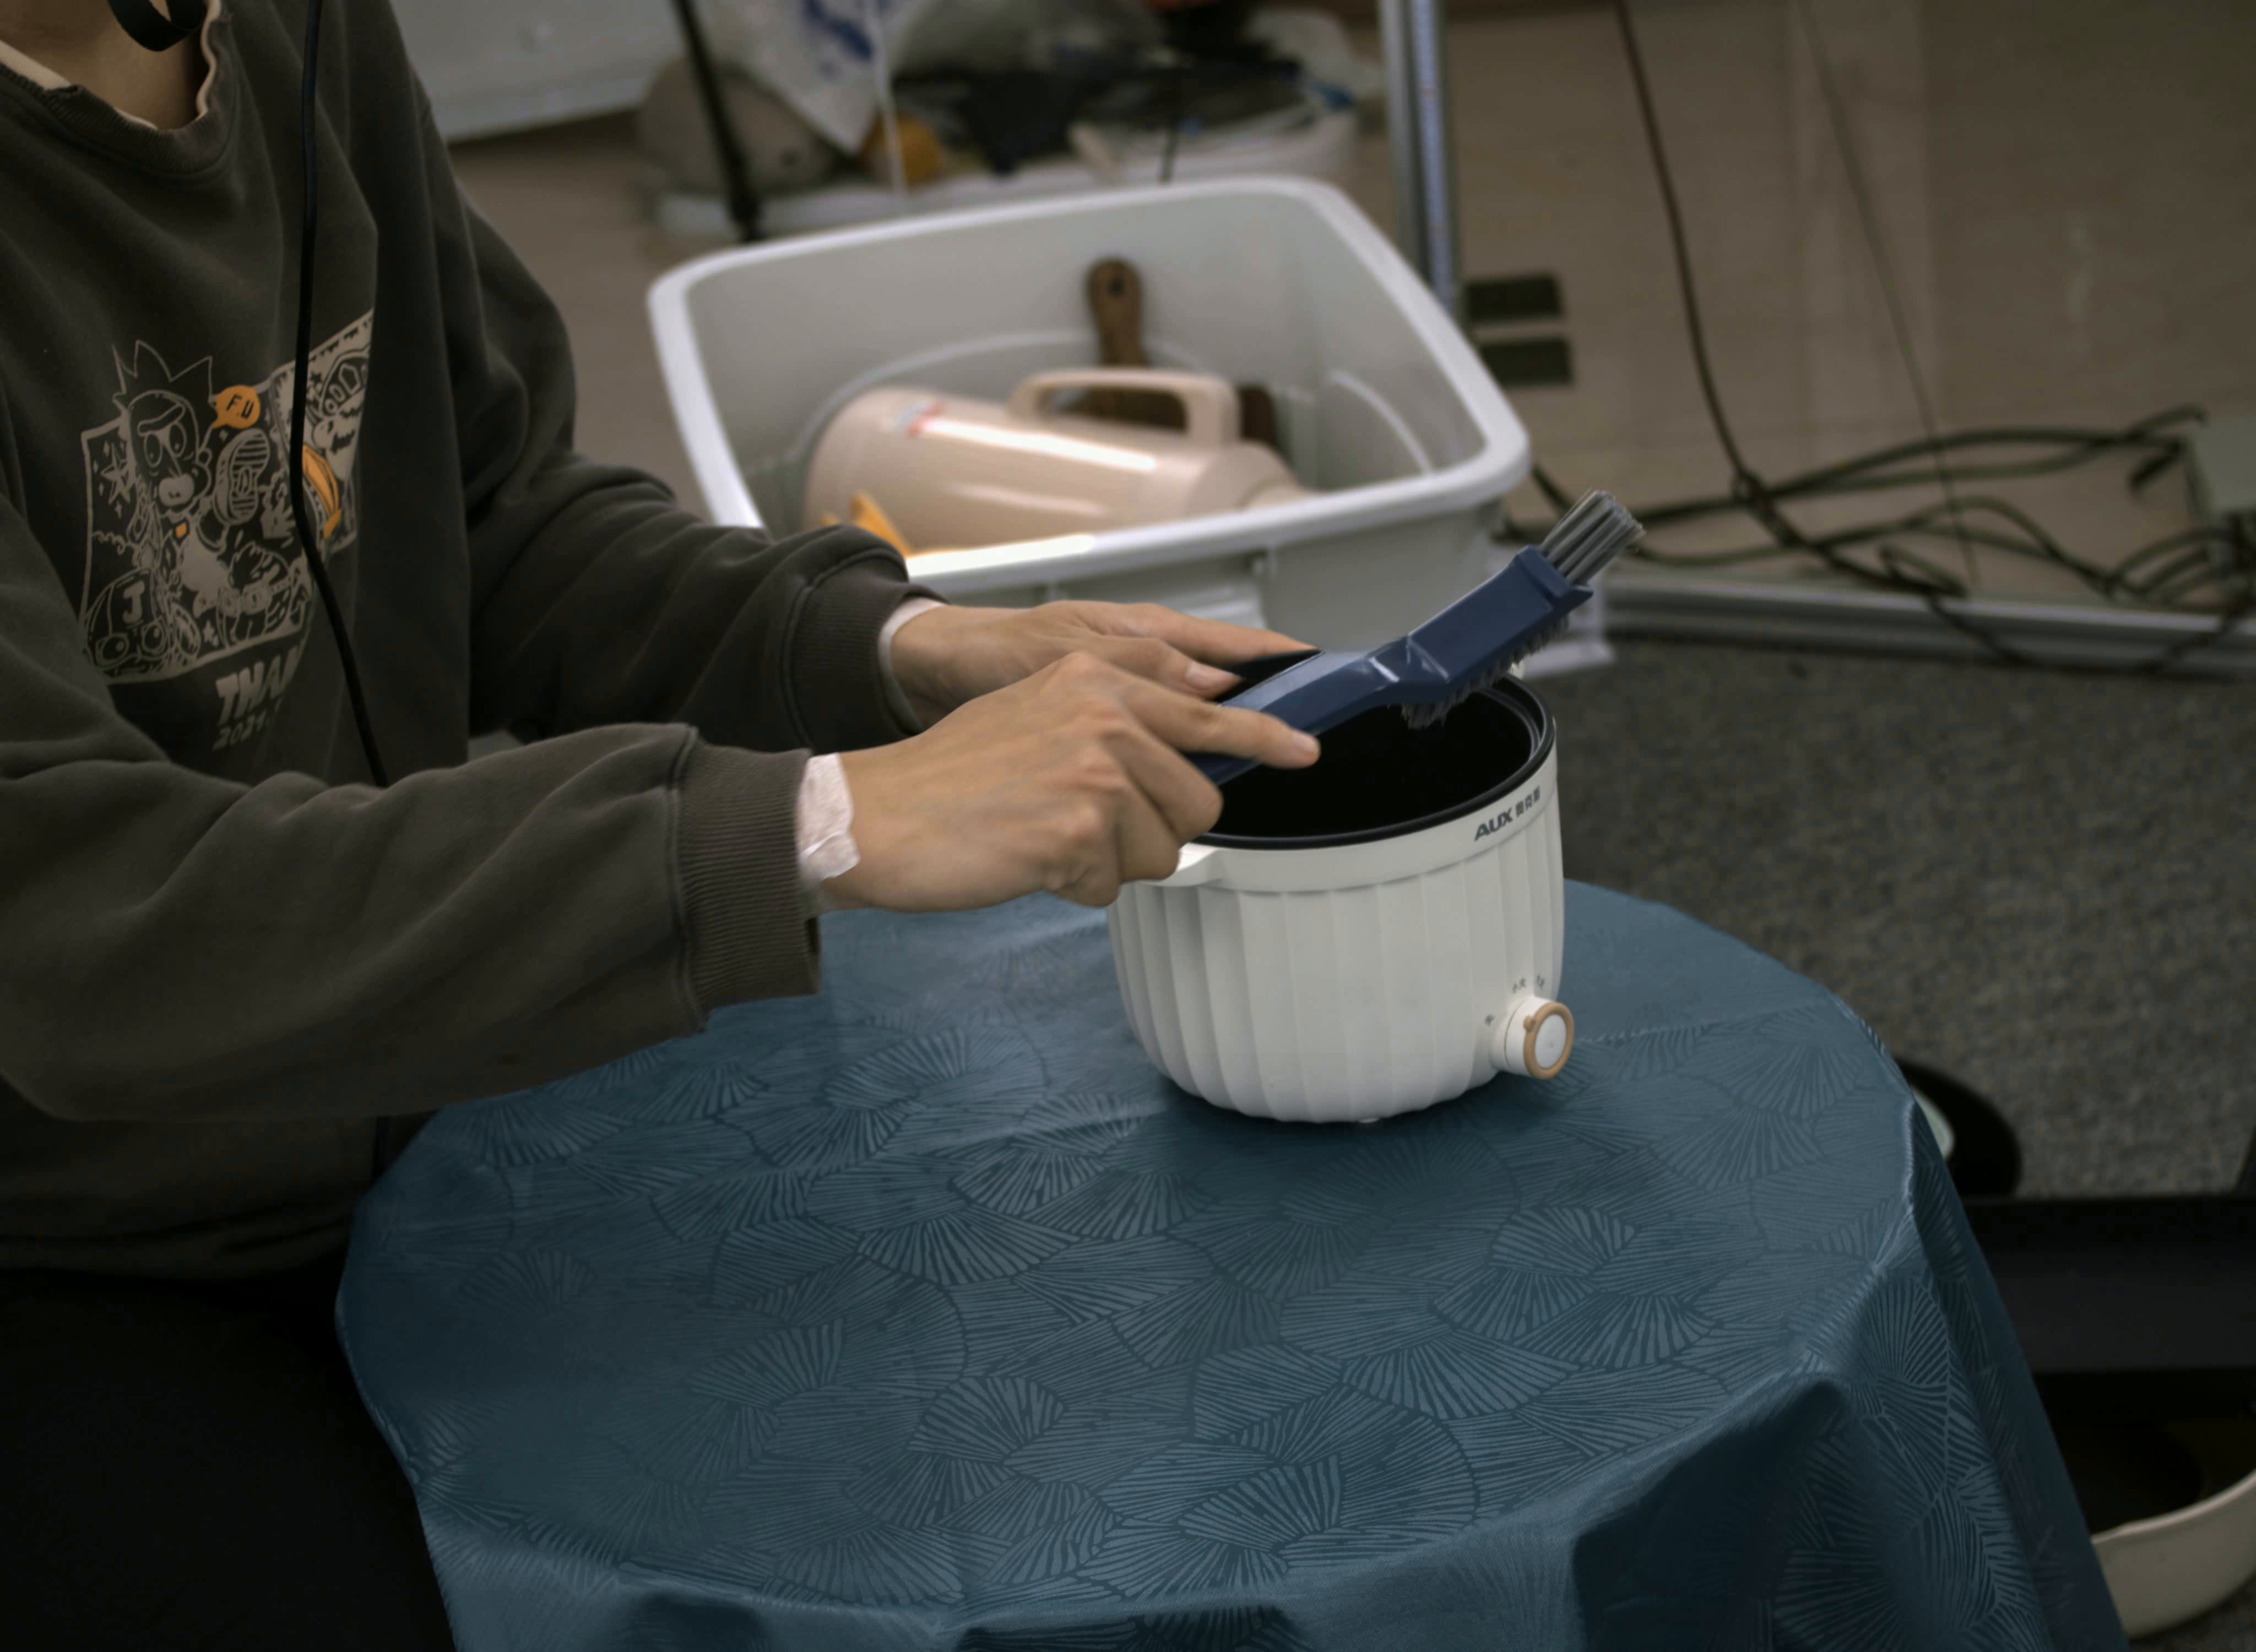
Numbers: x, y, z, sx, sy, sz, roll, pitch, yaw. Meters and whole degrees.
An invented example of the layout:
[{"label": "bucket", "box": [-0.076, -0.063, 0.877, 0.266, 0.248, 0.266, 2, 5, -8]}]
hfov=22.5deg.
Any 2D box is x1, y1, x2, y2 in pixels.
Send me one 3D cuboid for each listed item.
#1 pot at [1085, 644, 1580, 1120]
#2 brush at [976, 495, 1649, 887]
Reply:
[{"label": "pot", "box": [0.086, 0.026, 2.199, 0.189, 0.145, 0.238, 11, 32, 39]}, {"label": "brush", "box": [0.067, -0.049, 2.000, 0.271, 0.097, 0.033, -22, 64, -37]}]
